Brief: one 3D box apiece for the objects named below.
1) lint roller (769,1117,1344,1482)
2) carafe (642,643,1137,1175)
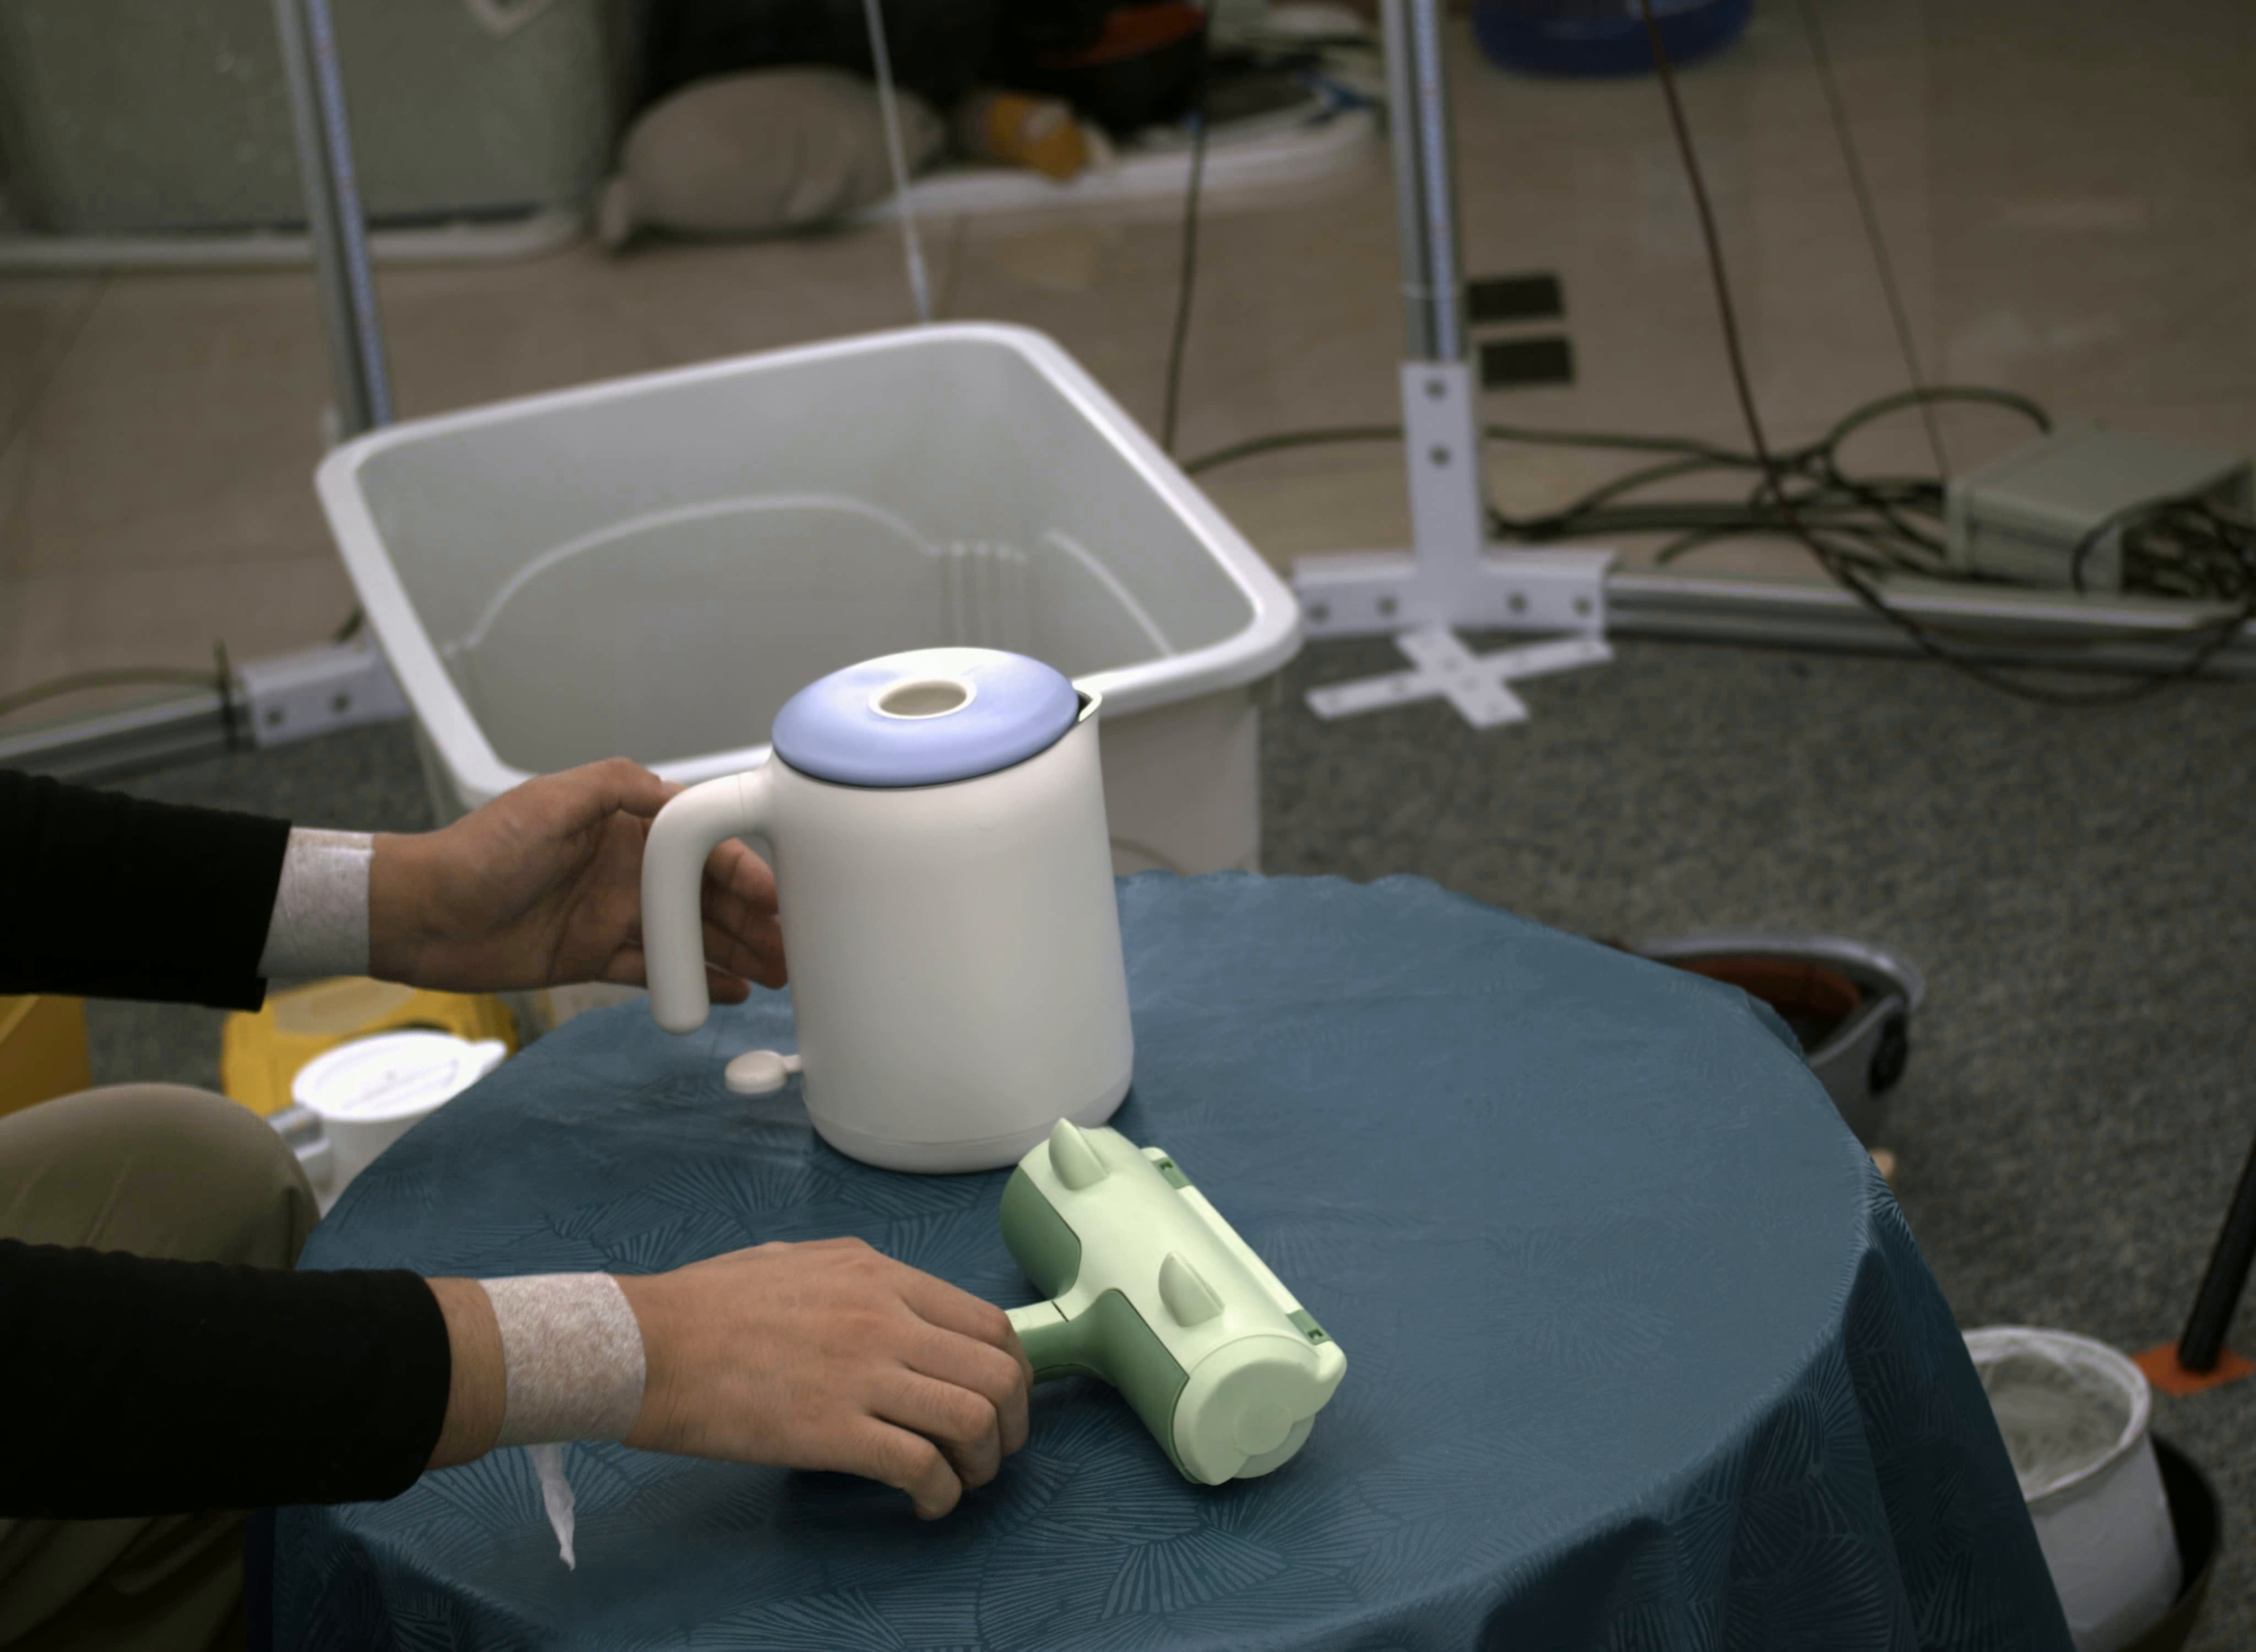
[{"bbox_3d":[-0.042,0.171,1.996,0.183,0.083,0.196,-12,24,-17],"label":"lint roller"},{"bbox_3d":[-0.093,0.036,2.186,0.190,0.185,0.130,-11,25,-5],"label":"carafe"}]
